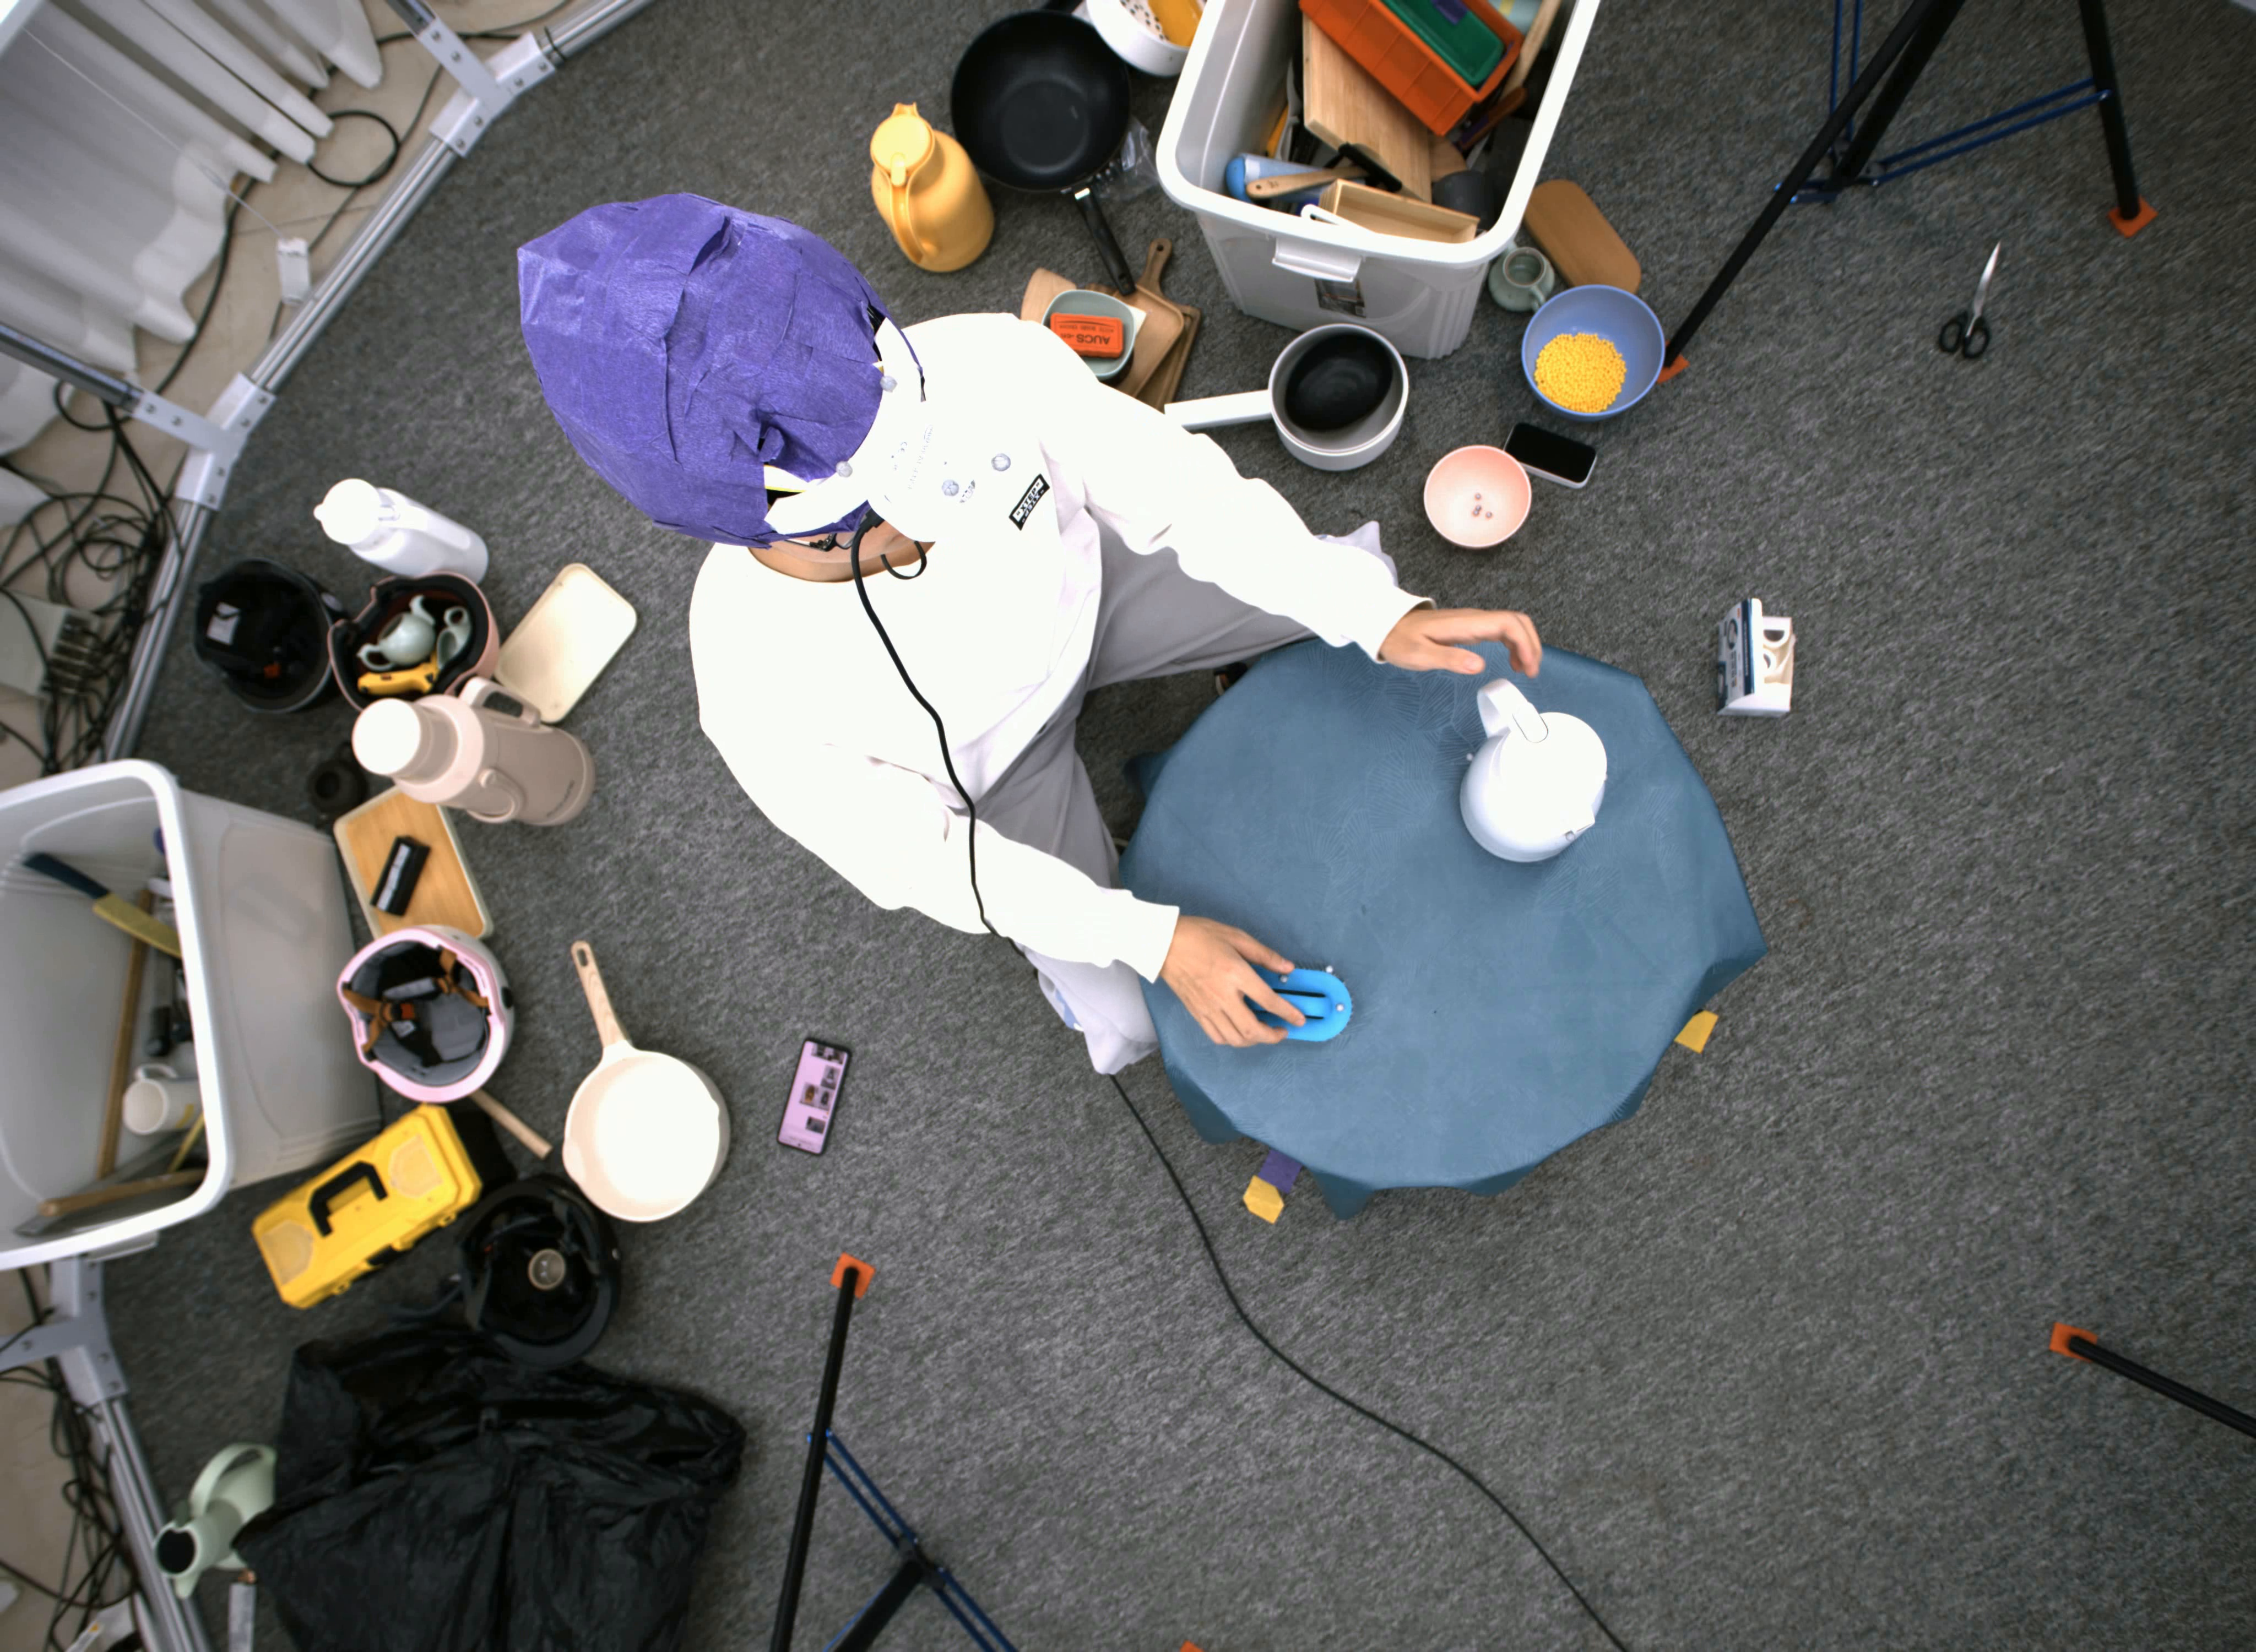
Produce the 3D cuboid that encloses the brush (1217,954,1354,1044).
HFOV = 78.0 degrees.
[{"bbox_3d":[0.162,0.180,1.440,0.142,0.063,0.084,7,92,12],"label":"brush"}]

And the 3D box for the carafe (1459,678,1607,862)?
[{"bbox_3d":[0.383,-0.060,1.319,0.133,0.249,0.166,-29,80,6],"label":"carafe"}]
